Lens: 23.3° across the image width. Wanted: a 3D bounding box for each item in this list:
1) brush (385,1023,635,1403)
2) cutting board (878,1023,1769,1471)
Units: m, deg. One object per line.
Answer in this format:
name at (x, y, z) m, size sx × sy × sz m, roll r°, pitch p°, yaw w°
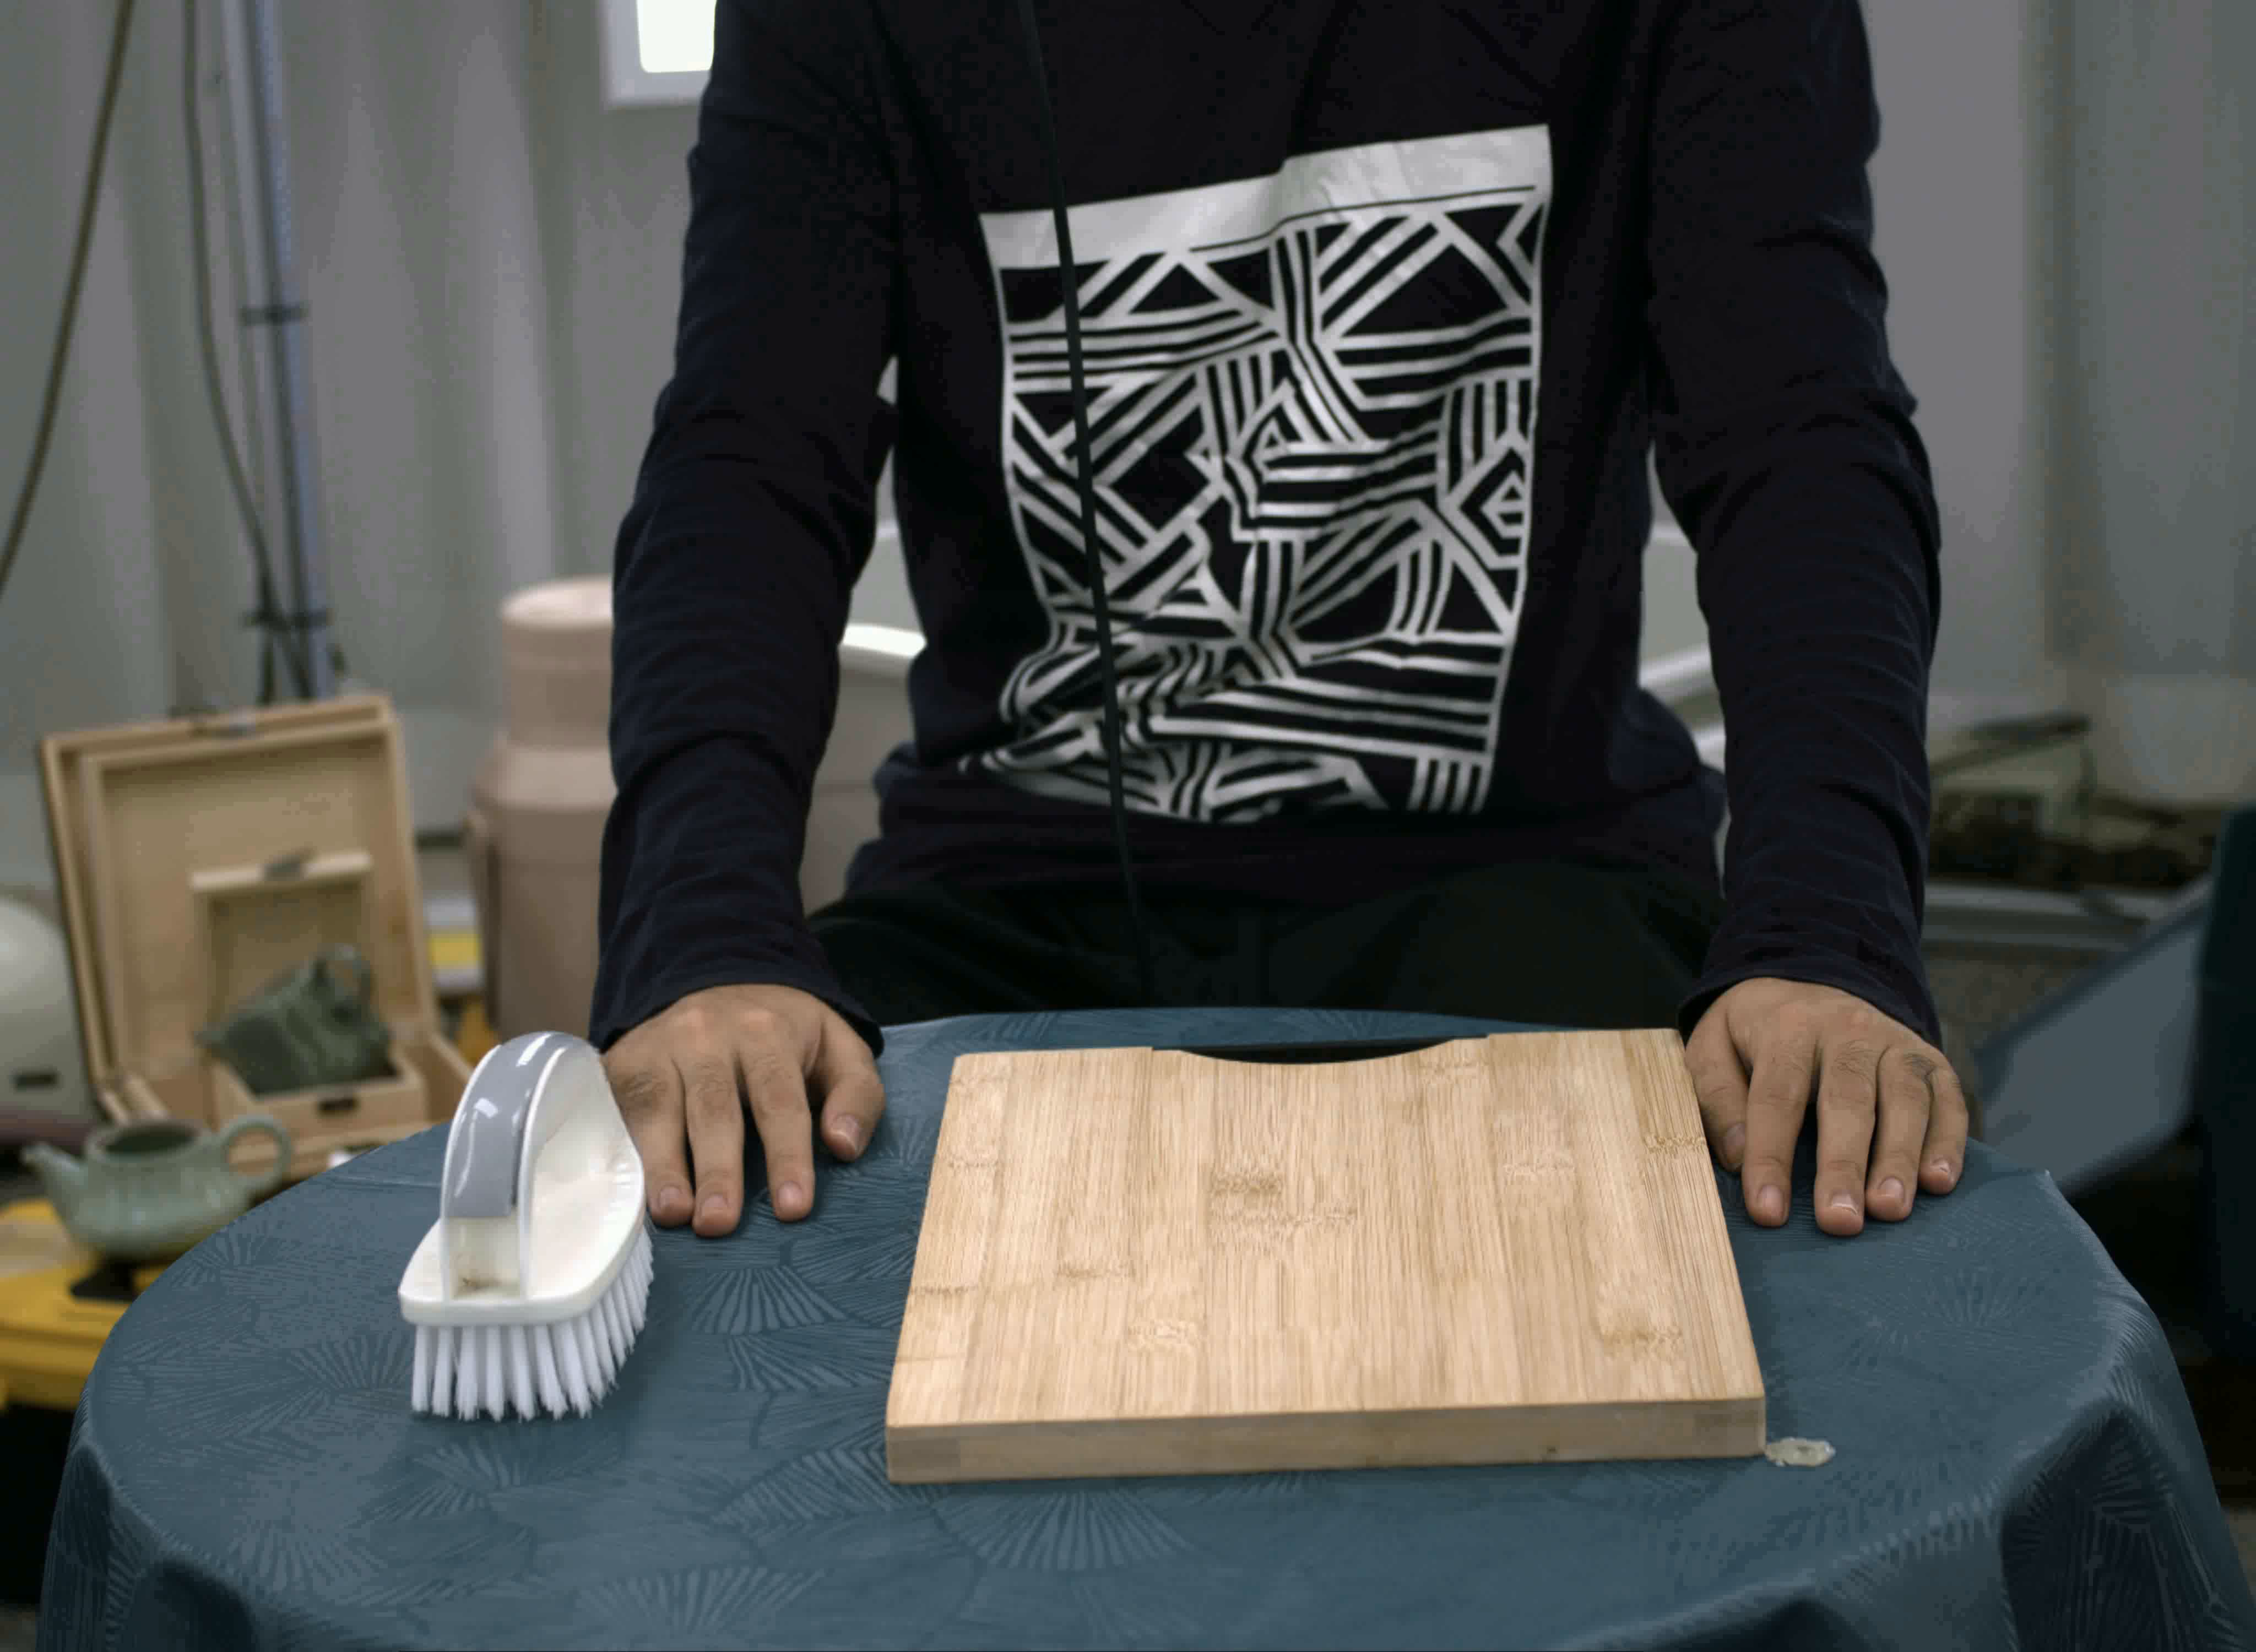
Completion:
brush at (-0.175, 0.103, 1.616) m, size 0.061 × 0.094 × 0.176 m, roll 0°, pitch 13°, yaw 7°
cutting board at (0.059, 0.122, 1.645) m, size 0.250 × 0.023 × 0.351 m, roll -2°, pitch 15°, yaw 2°
